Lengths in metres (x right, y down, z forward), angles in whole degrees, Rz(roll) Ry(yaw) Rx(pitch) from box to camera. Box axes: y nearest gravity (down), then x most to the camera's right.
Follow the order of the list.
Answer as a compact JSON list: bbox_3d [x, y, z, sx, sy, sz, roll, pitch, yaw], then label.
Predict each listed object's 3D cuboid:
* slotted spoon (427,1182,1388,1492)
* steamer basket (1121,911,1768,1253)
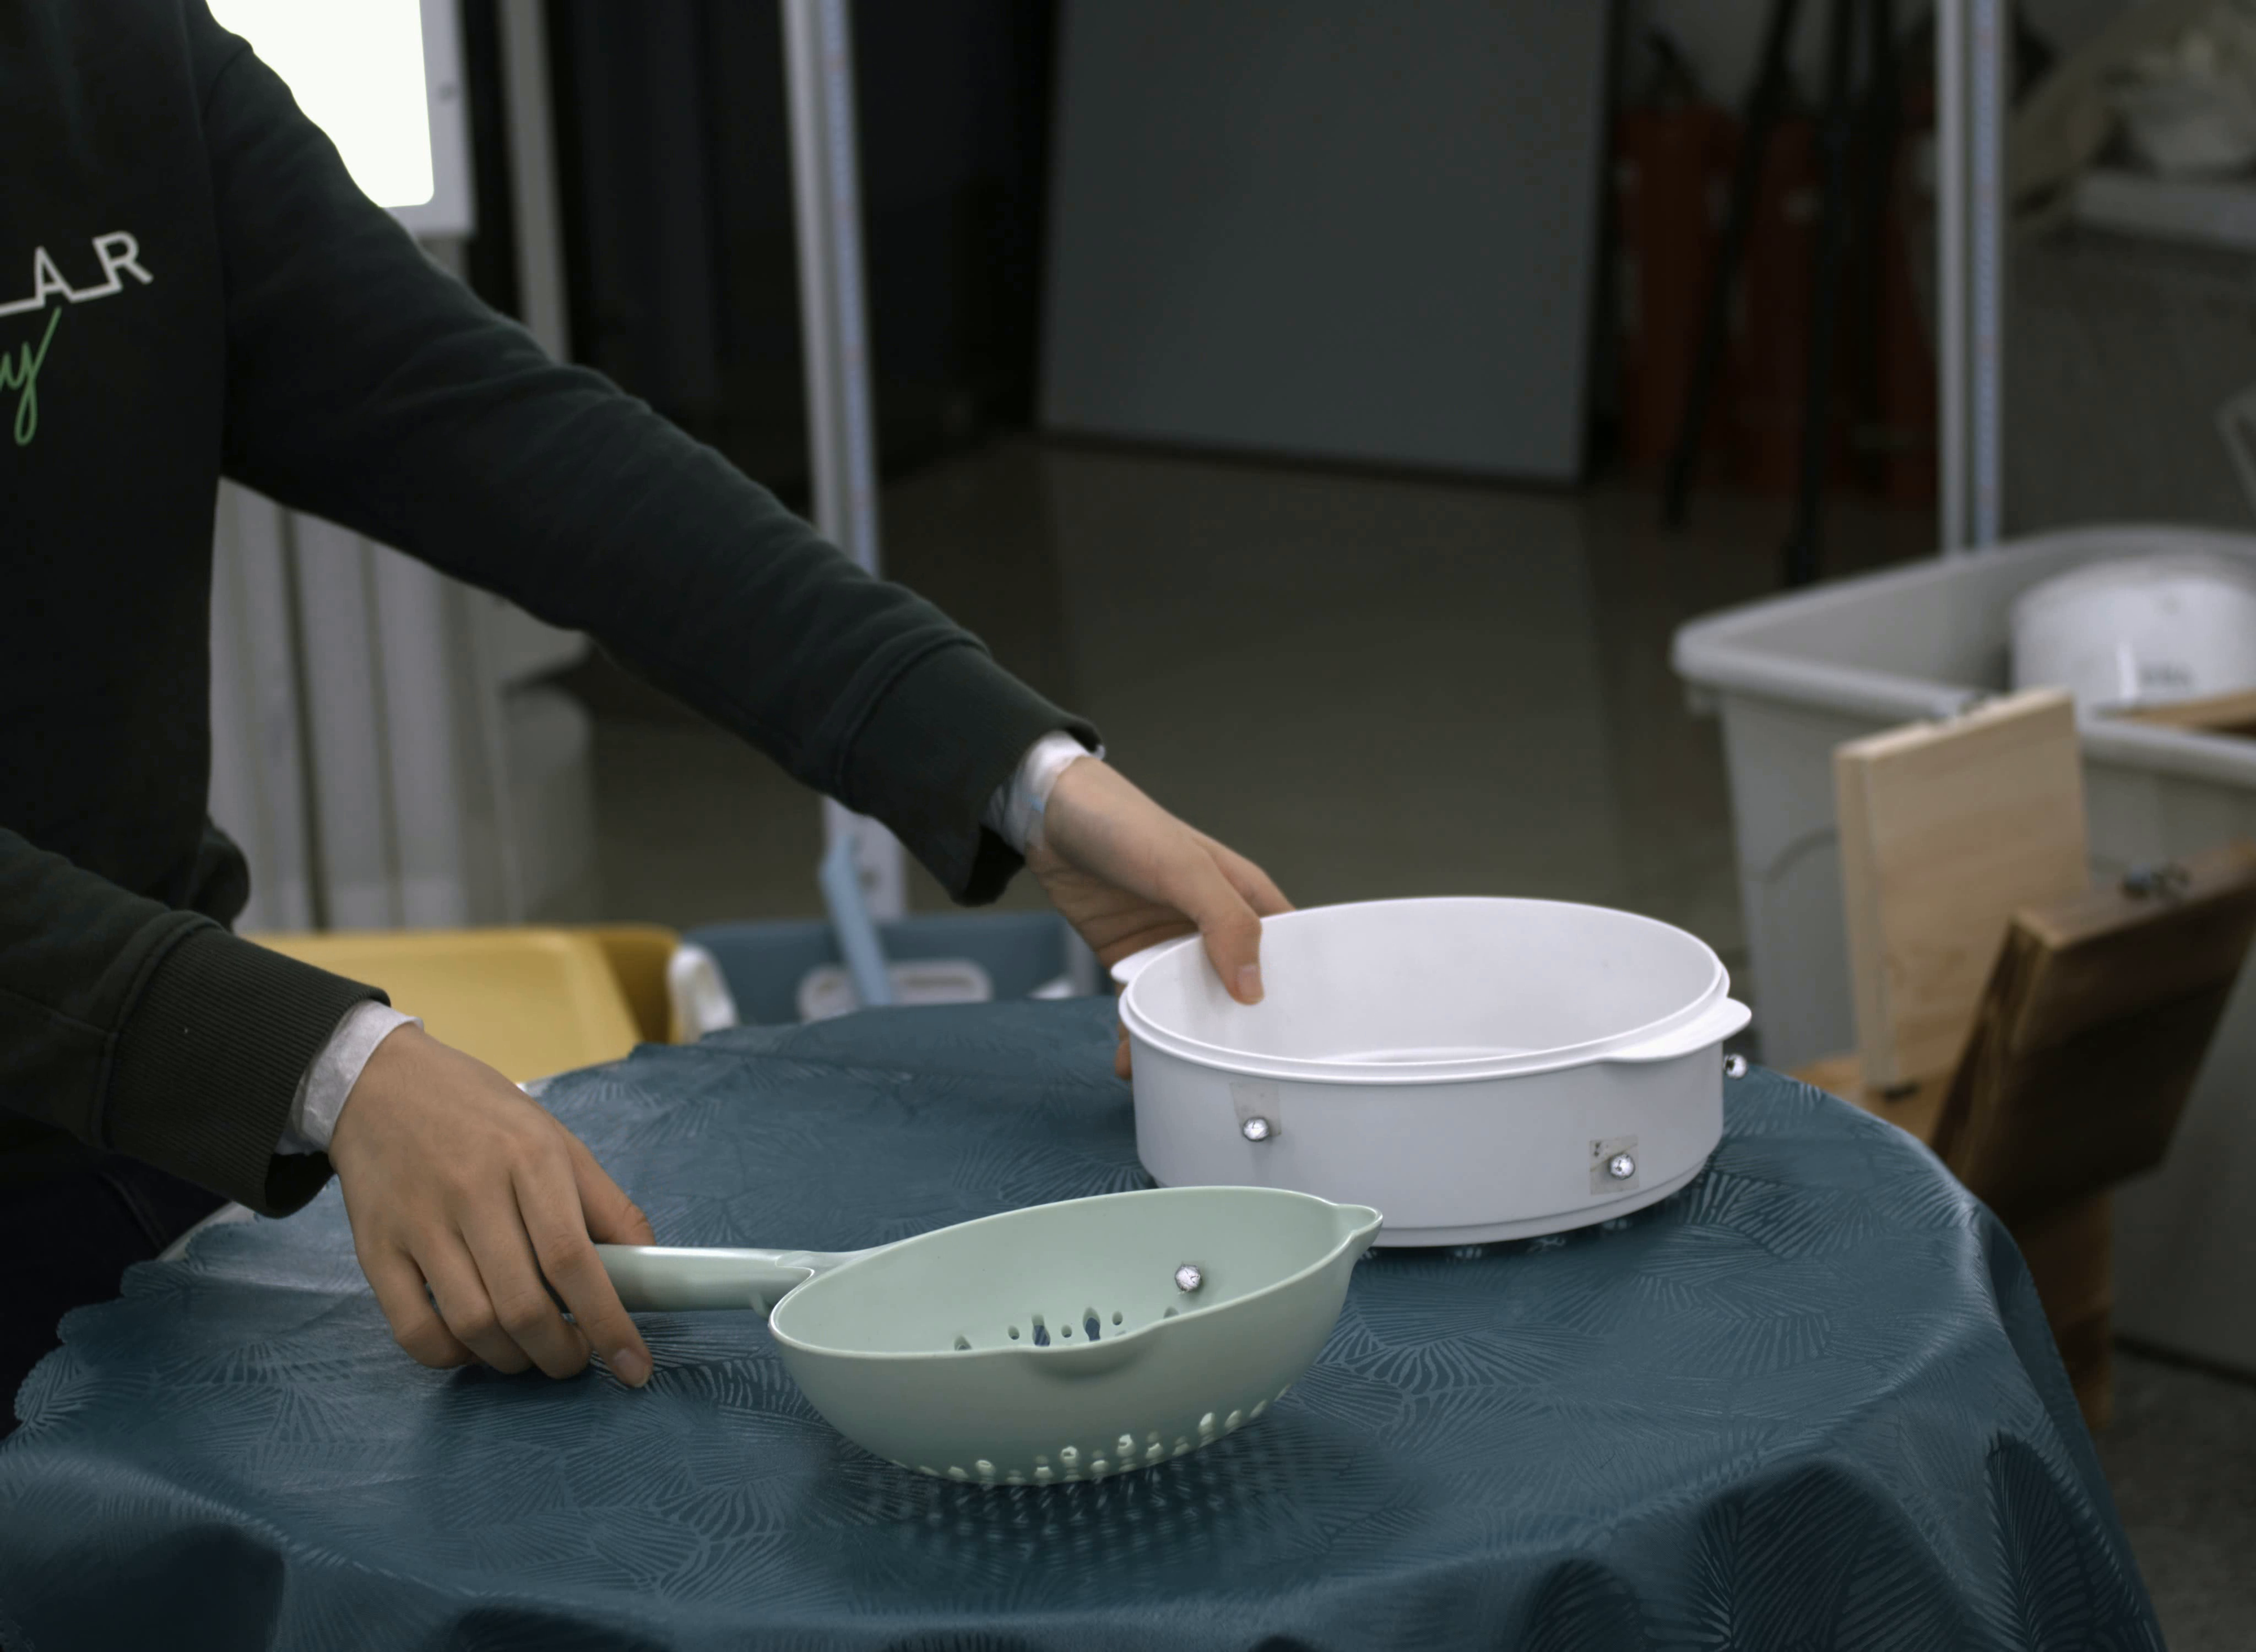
[{"bbox_3d":[-0.087,0.139,1.588,0.362,0.076,0.166,8,18,41],"label":"slotted spoon"},{"bbox_3d":[0.102,0.083,1.761,0.232,0.070,0.198,6,16,37],"label":"steamer basket"}]
